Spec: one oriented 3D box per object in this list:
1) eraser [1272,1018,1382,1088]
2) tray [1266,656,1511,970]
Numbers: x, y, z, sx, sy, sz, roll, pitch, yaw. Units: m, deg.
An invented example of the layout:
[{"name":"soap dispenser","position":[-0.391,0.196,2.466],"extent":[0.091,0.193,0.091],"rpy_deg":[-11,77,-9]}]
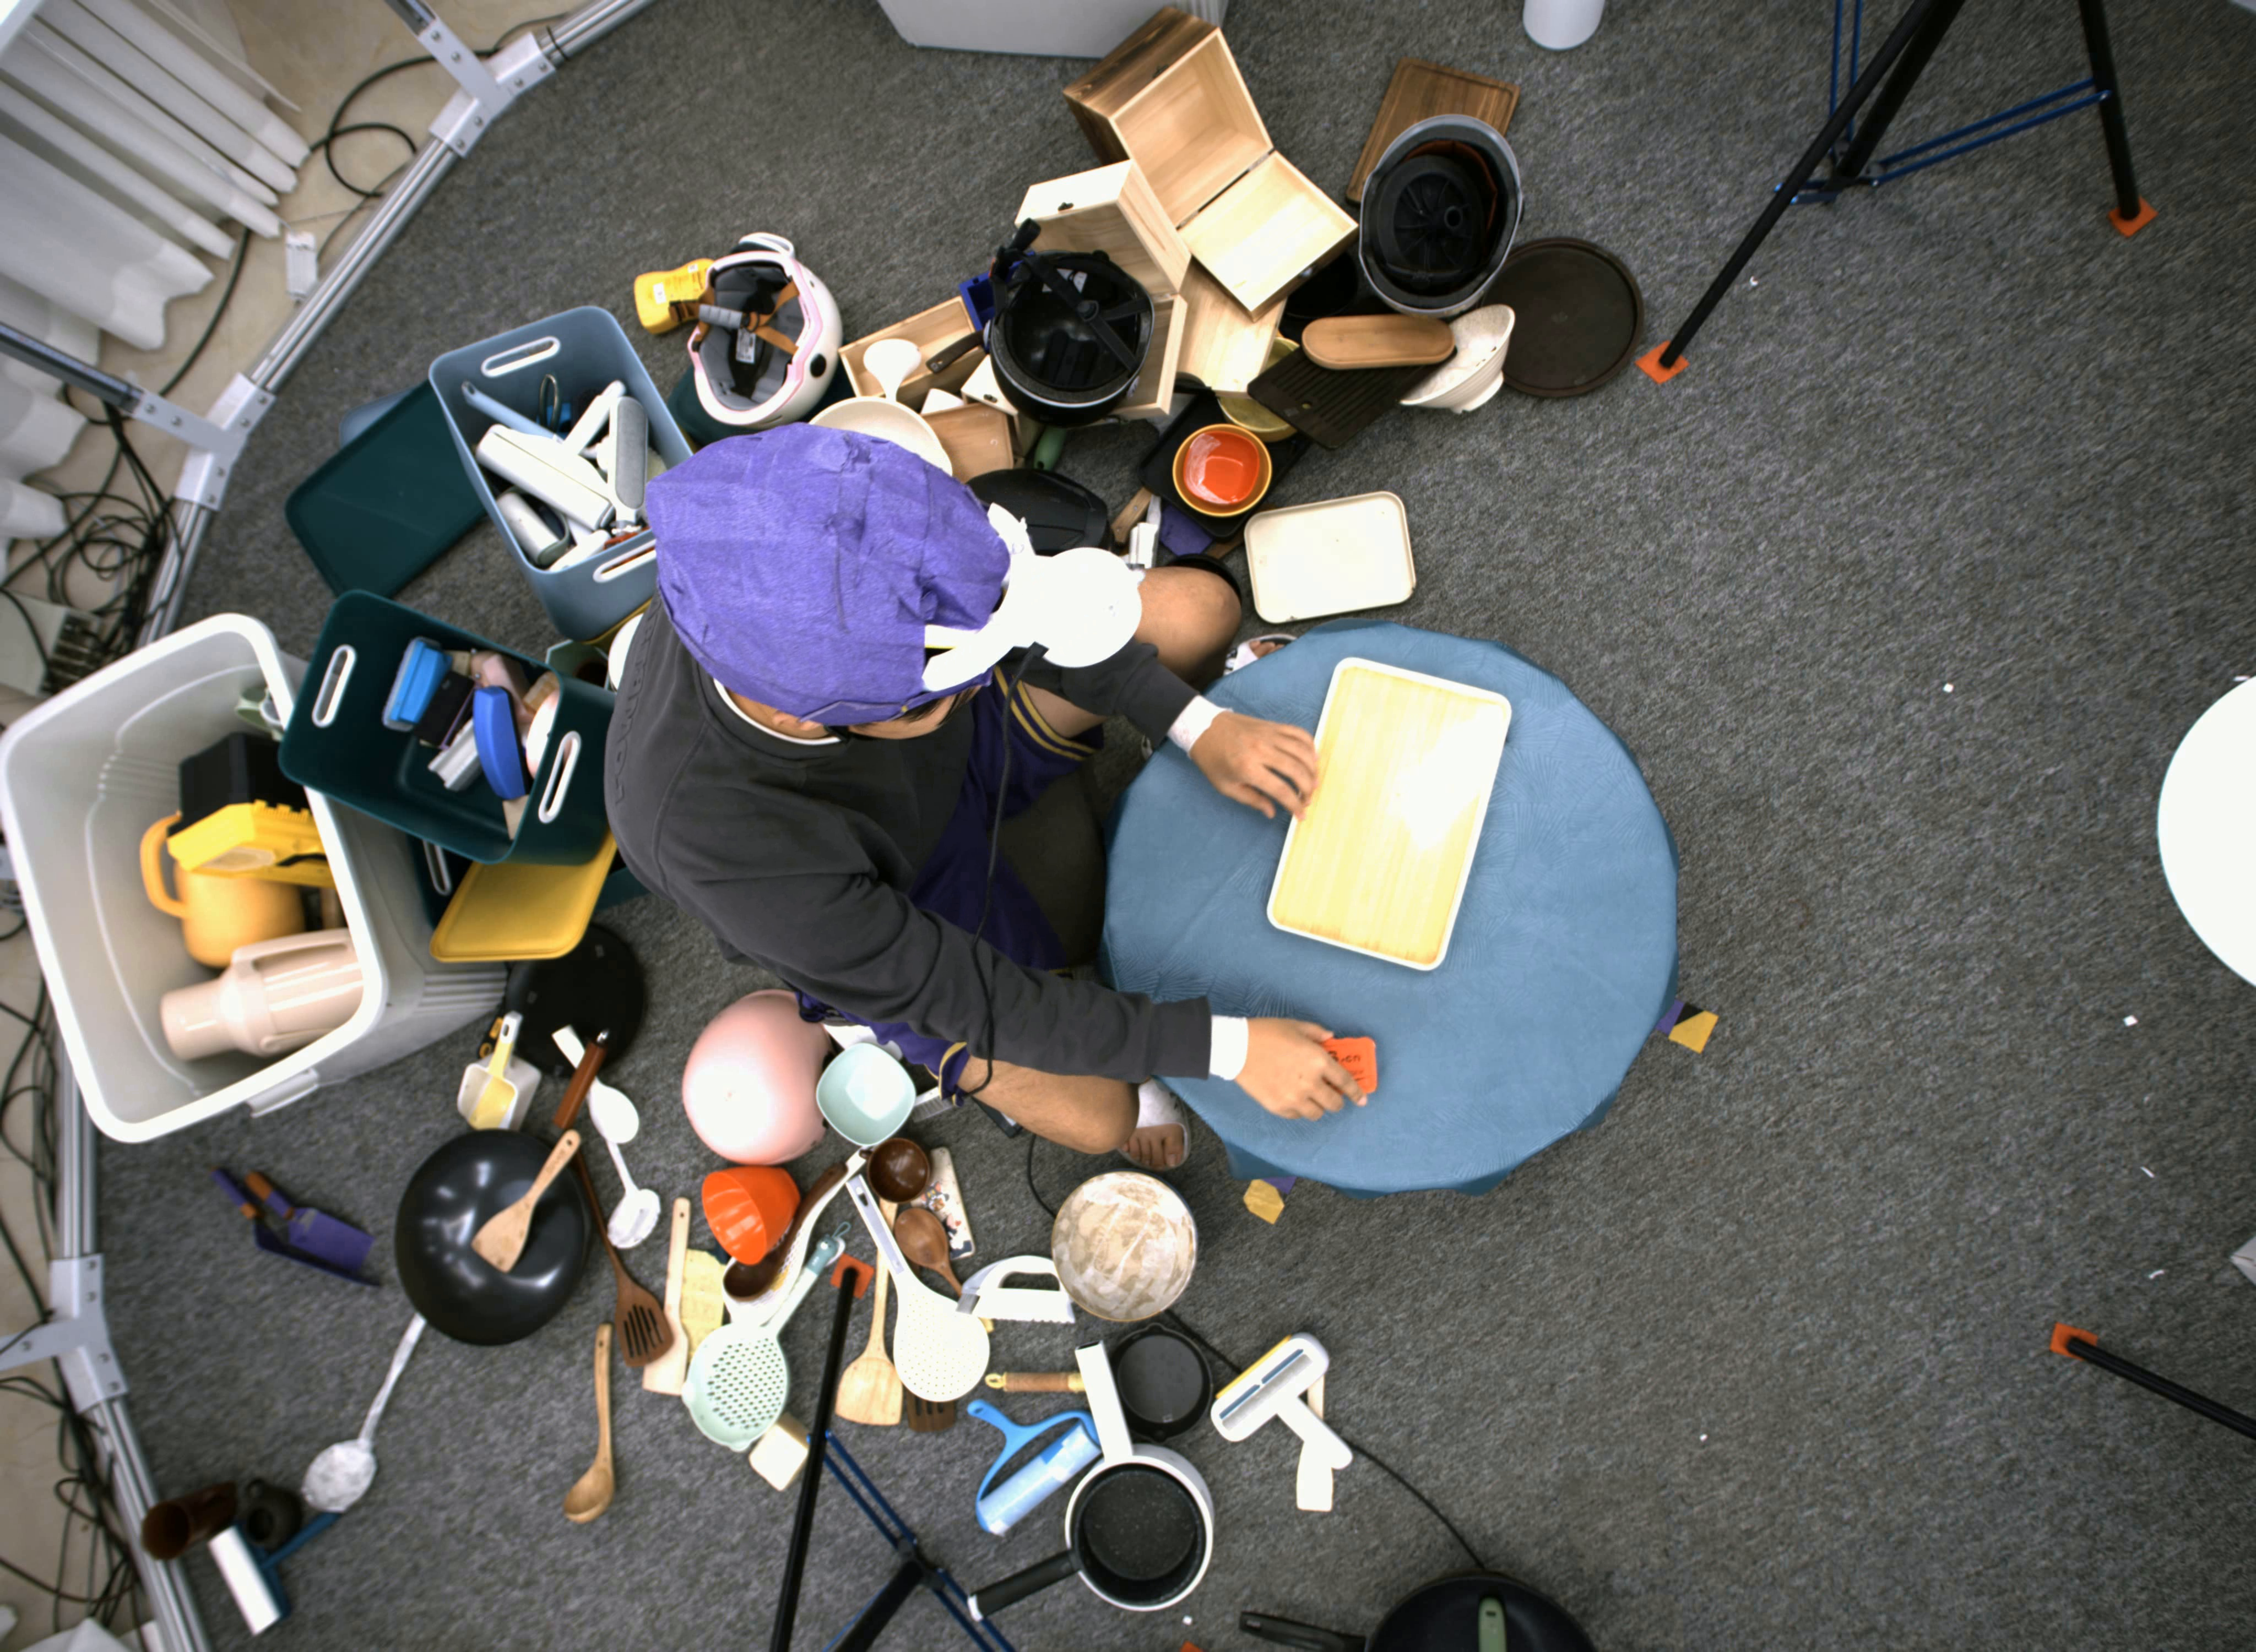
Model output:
[{"name":"eraser","position":[0.205,0.233,1.433],"extent":[0.108,0.023,0.058],"rpy_deg":[8,86,8]},{"name":"tray","position":[0.273,-0.016,1.450],"extent":[0.192,0.027,0.300],"rpy_deg":[16,90,11]}]
